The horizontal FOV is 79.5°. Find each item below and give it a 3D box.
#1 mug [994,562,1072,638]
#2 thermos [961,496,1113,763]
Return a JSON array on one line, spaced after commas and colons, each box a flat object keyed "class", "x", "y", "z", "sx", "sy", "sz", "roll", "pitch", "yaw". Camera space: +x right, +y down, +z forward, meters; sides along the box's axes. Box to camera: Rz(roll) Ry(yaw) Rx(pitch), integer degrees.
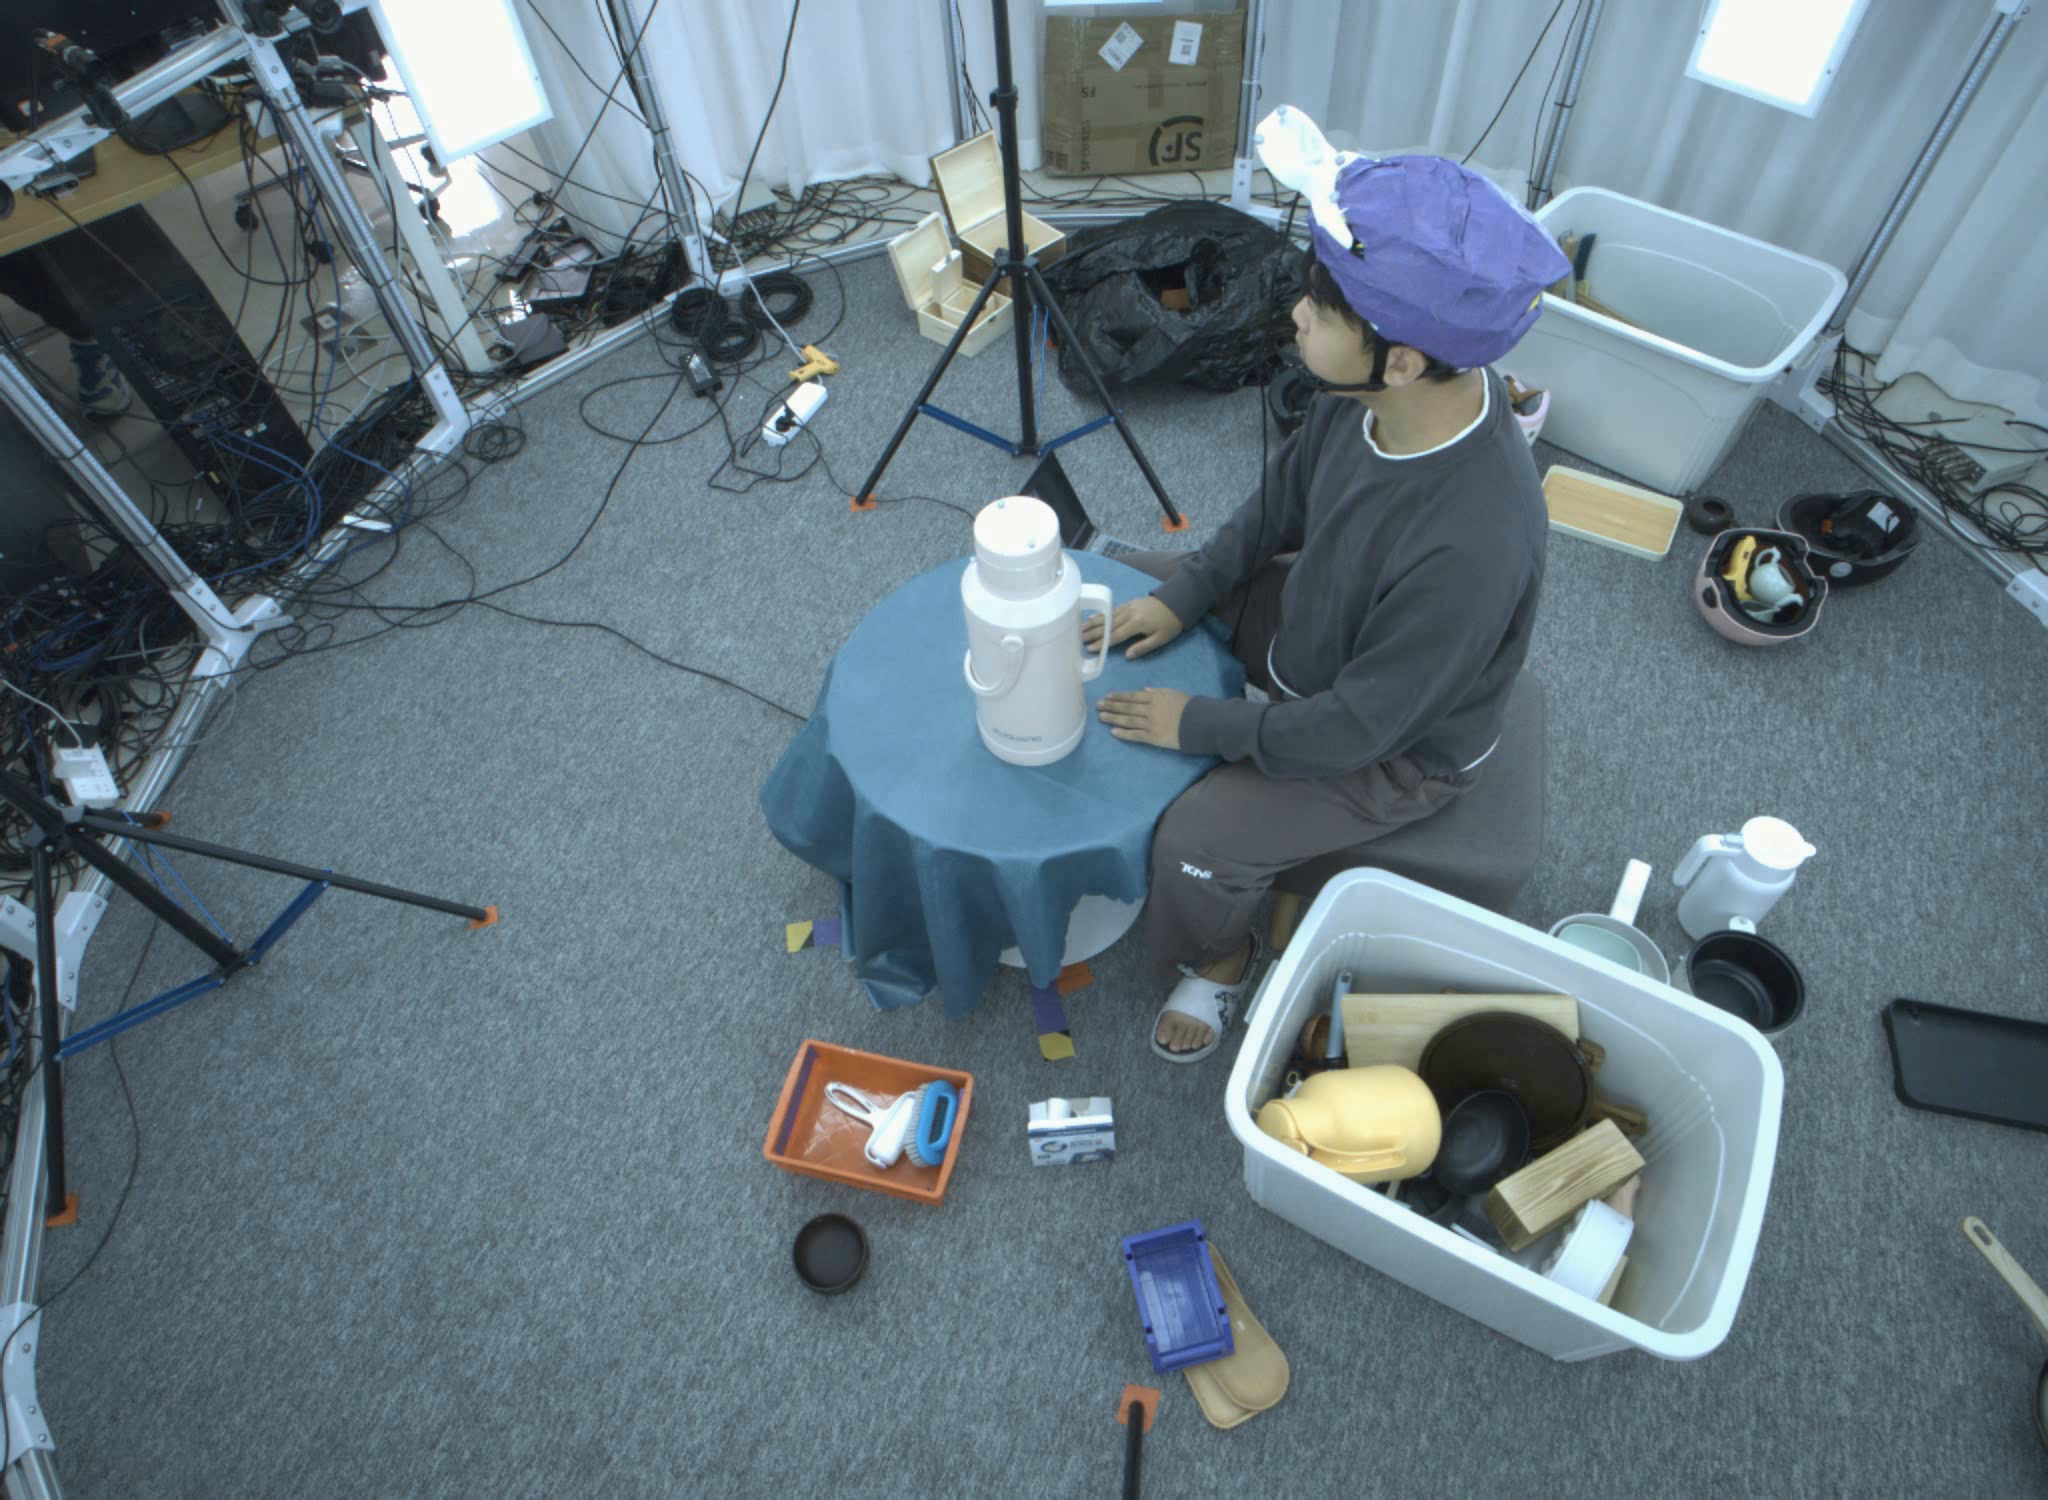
[{"class": "mug", "x": 0.012, "y": -0.231, "z": 1.894, "sx": 0.123, "sy": 0.091, "sz": 0.092, "roll": -2, "pitch": 55, "yaw": 1}, {"class": "thermos", "x": 0.015, "y": -0.156, "z": 1.653, "sx": 0.206, "sy": 0.411, "sz": 0.174, "roll": 4, "pitch": 55, "yaw": 6}]
